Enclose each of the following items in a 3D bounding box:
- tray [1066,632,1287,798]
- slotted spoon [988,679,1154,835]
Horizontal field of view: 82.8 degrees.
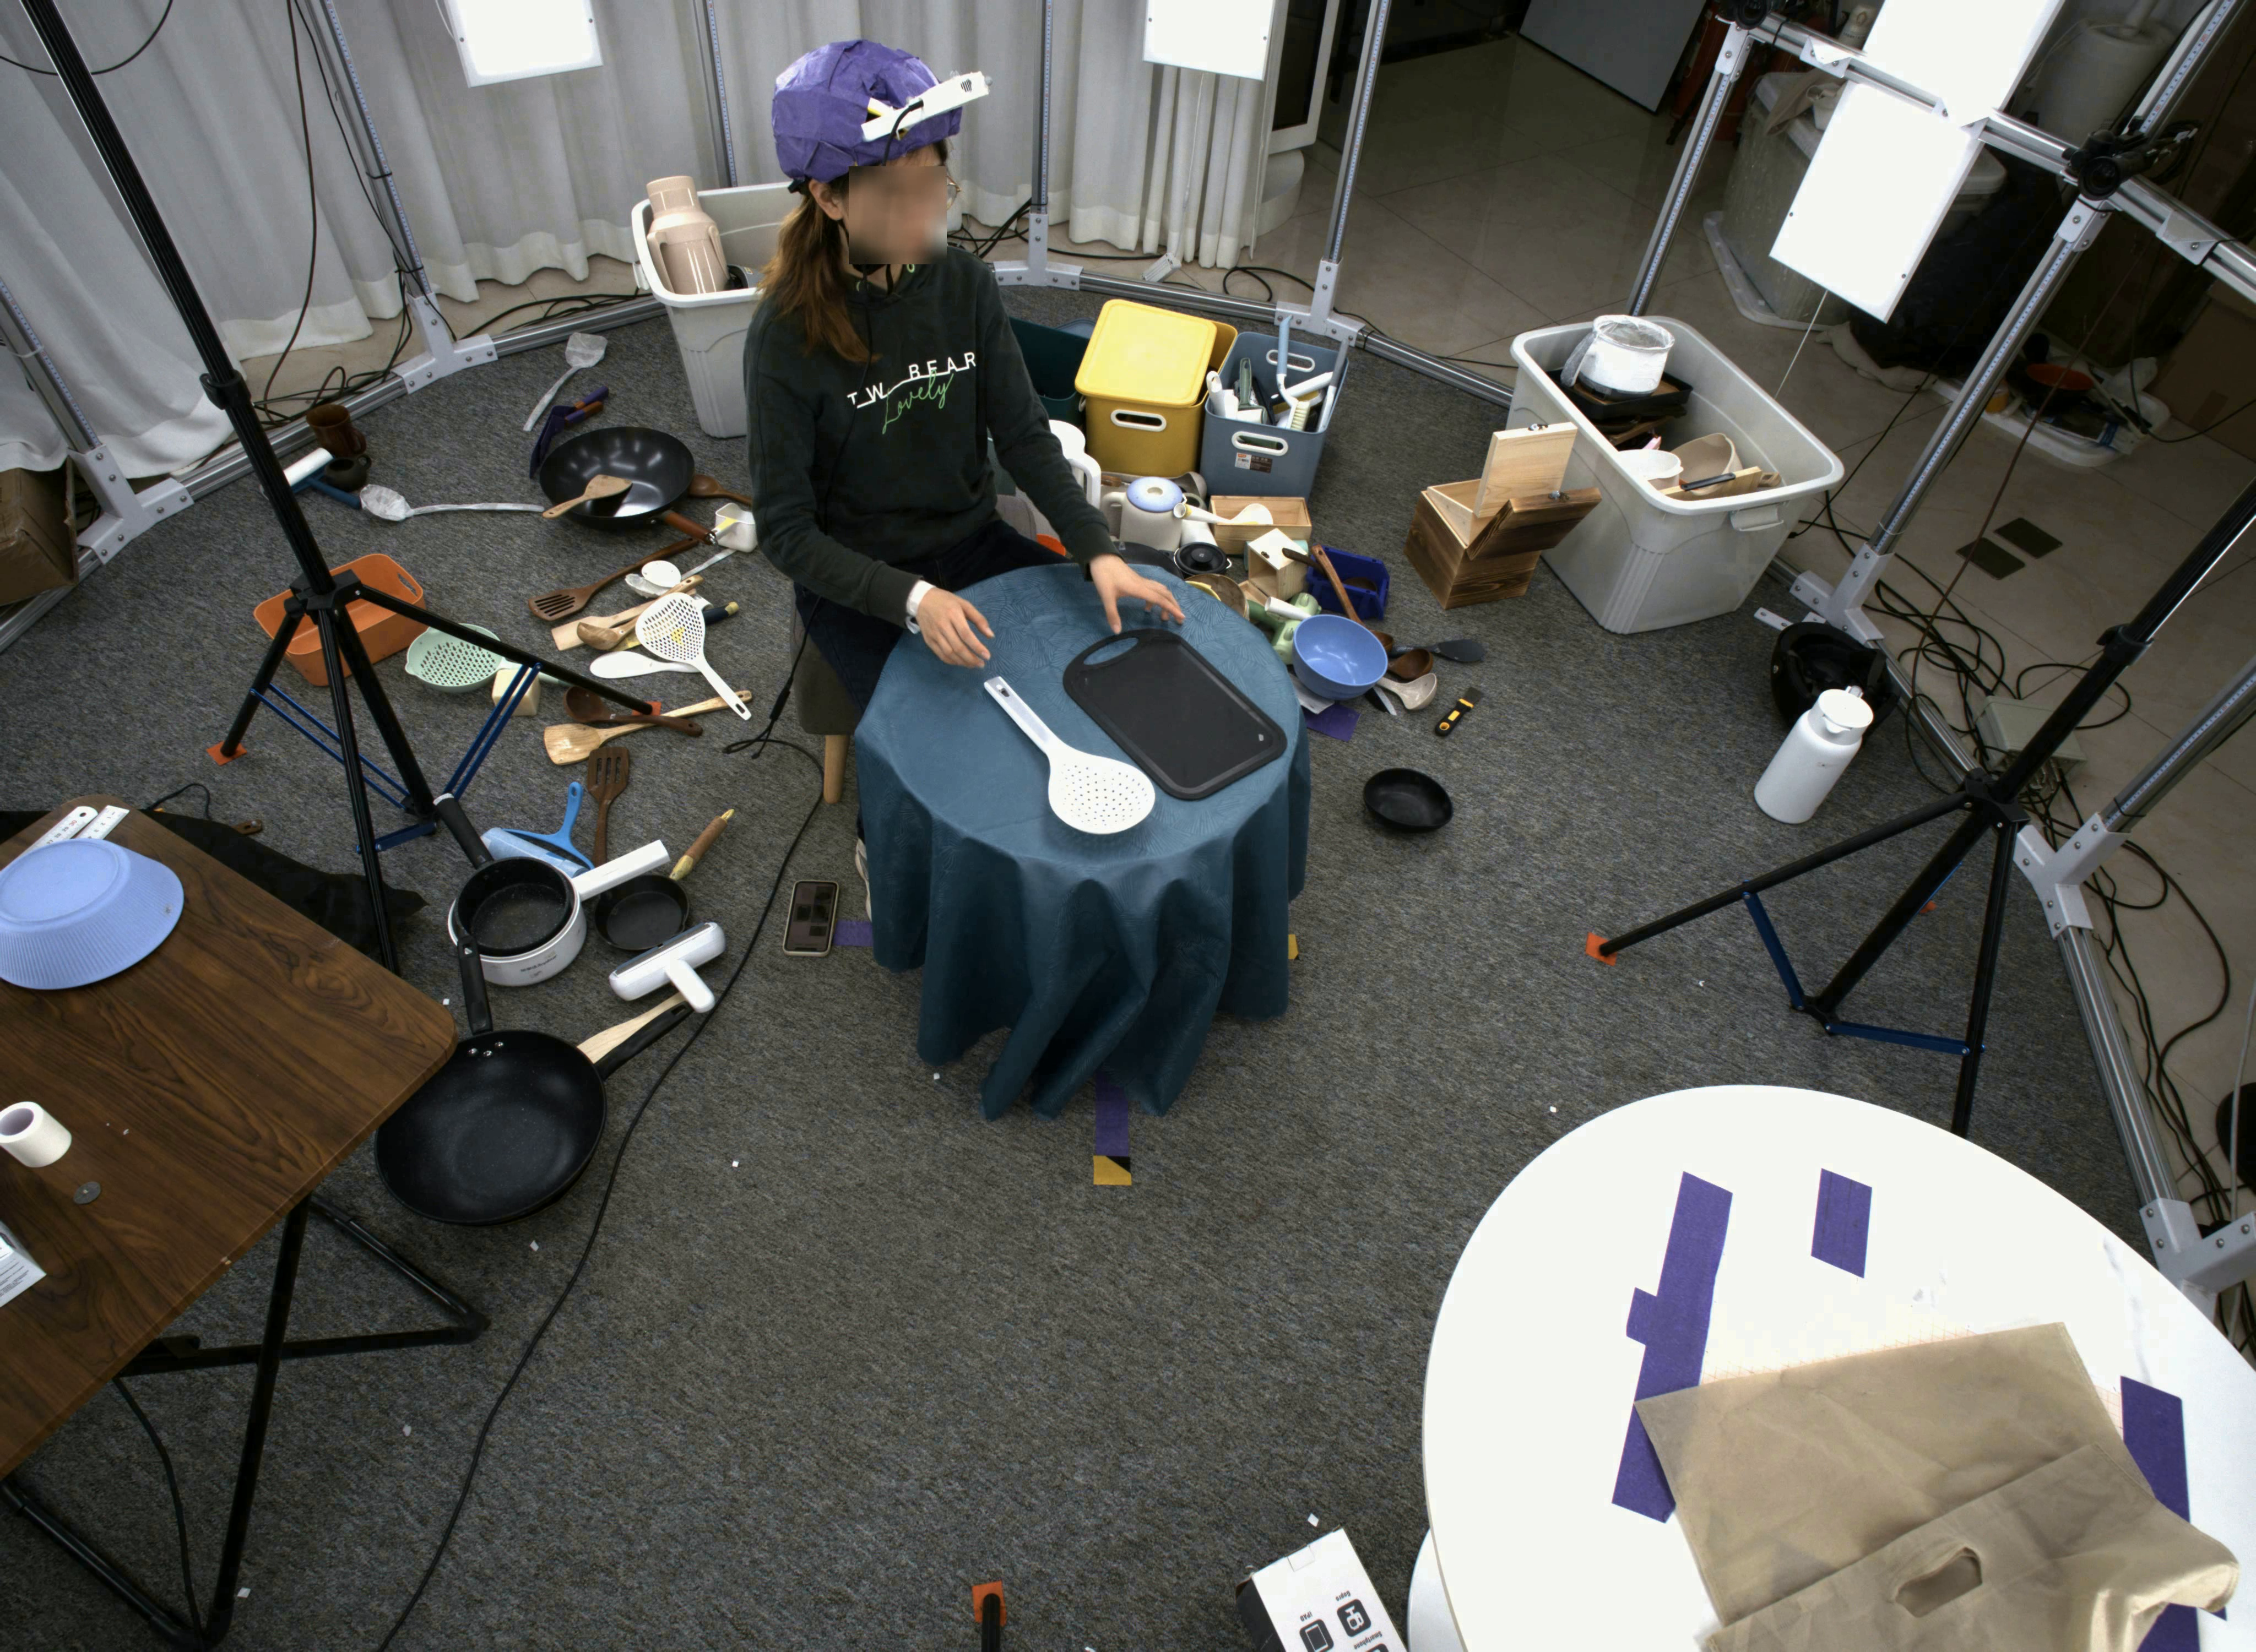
[{"bbox_3d":[0.061,-0.170,1.832,0.212,0.009,0.331,-27,55,-25],"label":"tray"},{"bbox_3d":[-0.094,-0.099,1.734,0.136,0.044,0.357,-23,53,-25],"label":"slotted spoon"}]
